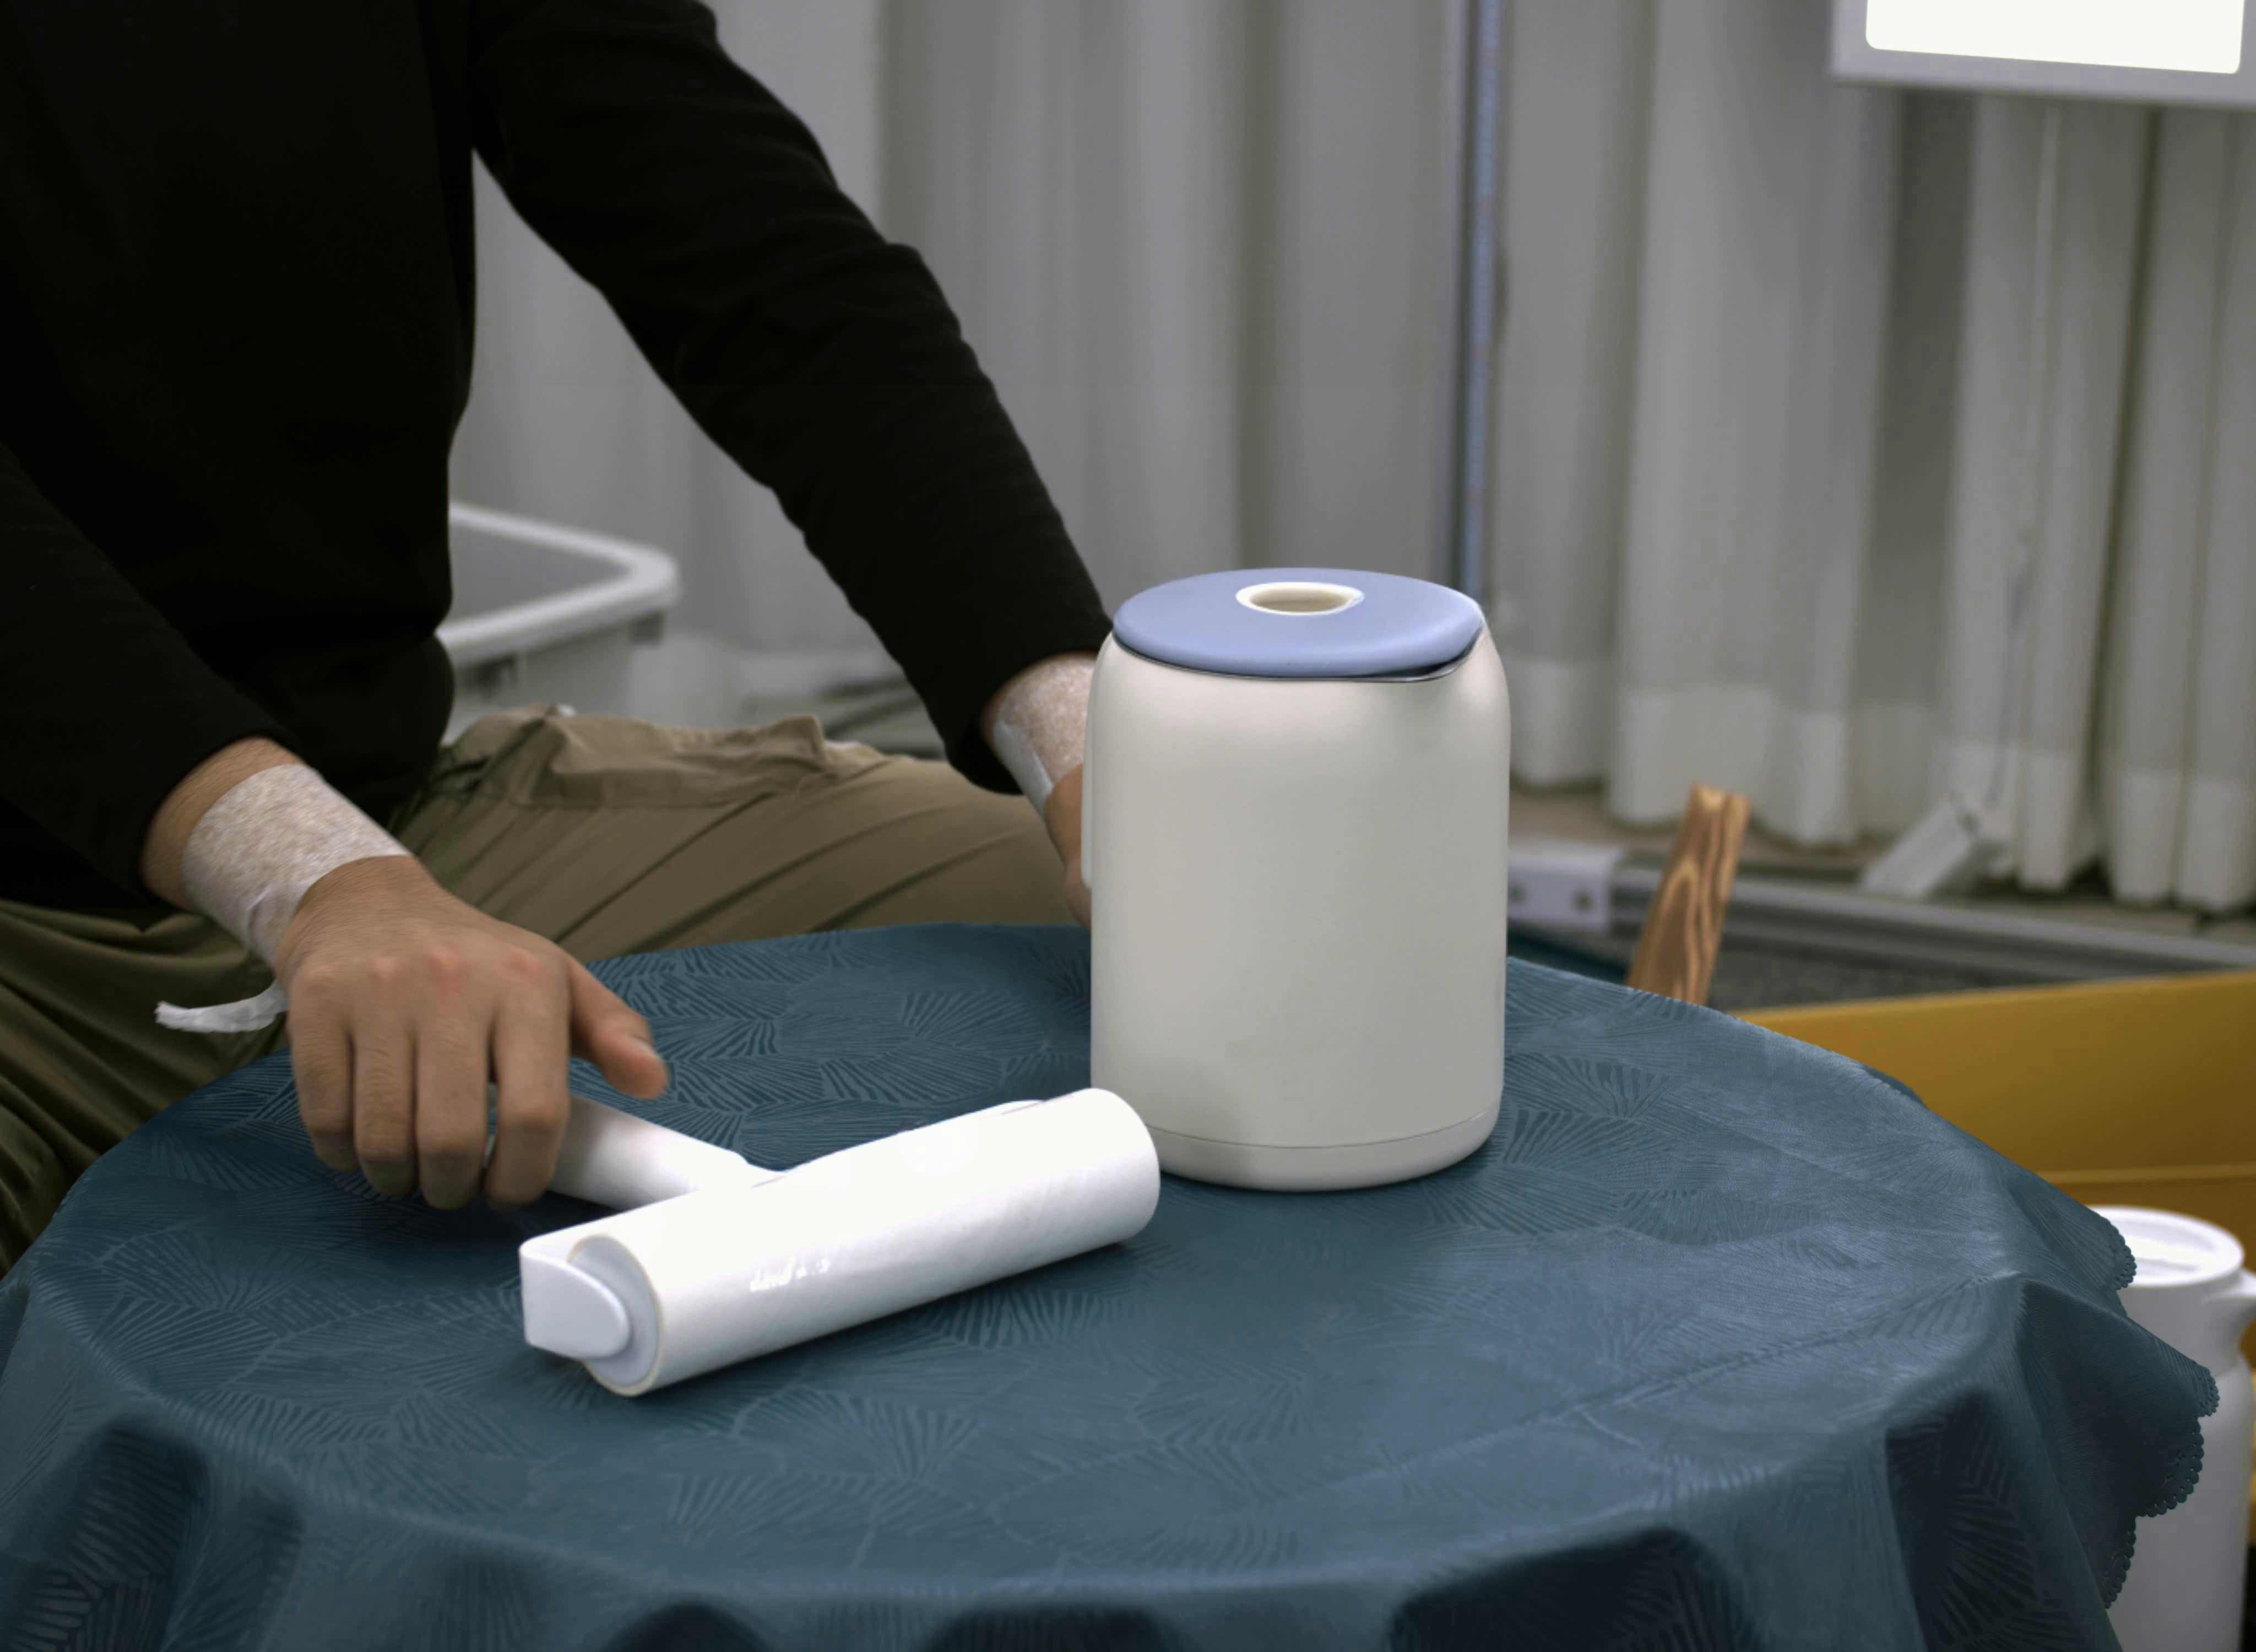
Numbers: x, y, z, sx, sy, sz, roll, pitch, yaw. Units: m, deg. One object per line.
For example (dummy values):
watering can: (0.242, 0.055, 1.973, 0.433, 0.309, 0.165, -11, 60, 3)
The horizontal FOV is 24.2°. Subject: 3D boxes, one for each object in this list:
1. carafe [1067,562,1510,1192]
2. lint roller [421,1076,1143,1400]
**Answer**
carafe: (0.040, 0.010, 1.670, 0.133, 0.184, 0.188, -10, 17, -34)
lint roller: (-0.138, 0.102, 1.573, 0.204, 0.049, 0.222, -16, 21, -42)
